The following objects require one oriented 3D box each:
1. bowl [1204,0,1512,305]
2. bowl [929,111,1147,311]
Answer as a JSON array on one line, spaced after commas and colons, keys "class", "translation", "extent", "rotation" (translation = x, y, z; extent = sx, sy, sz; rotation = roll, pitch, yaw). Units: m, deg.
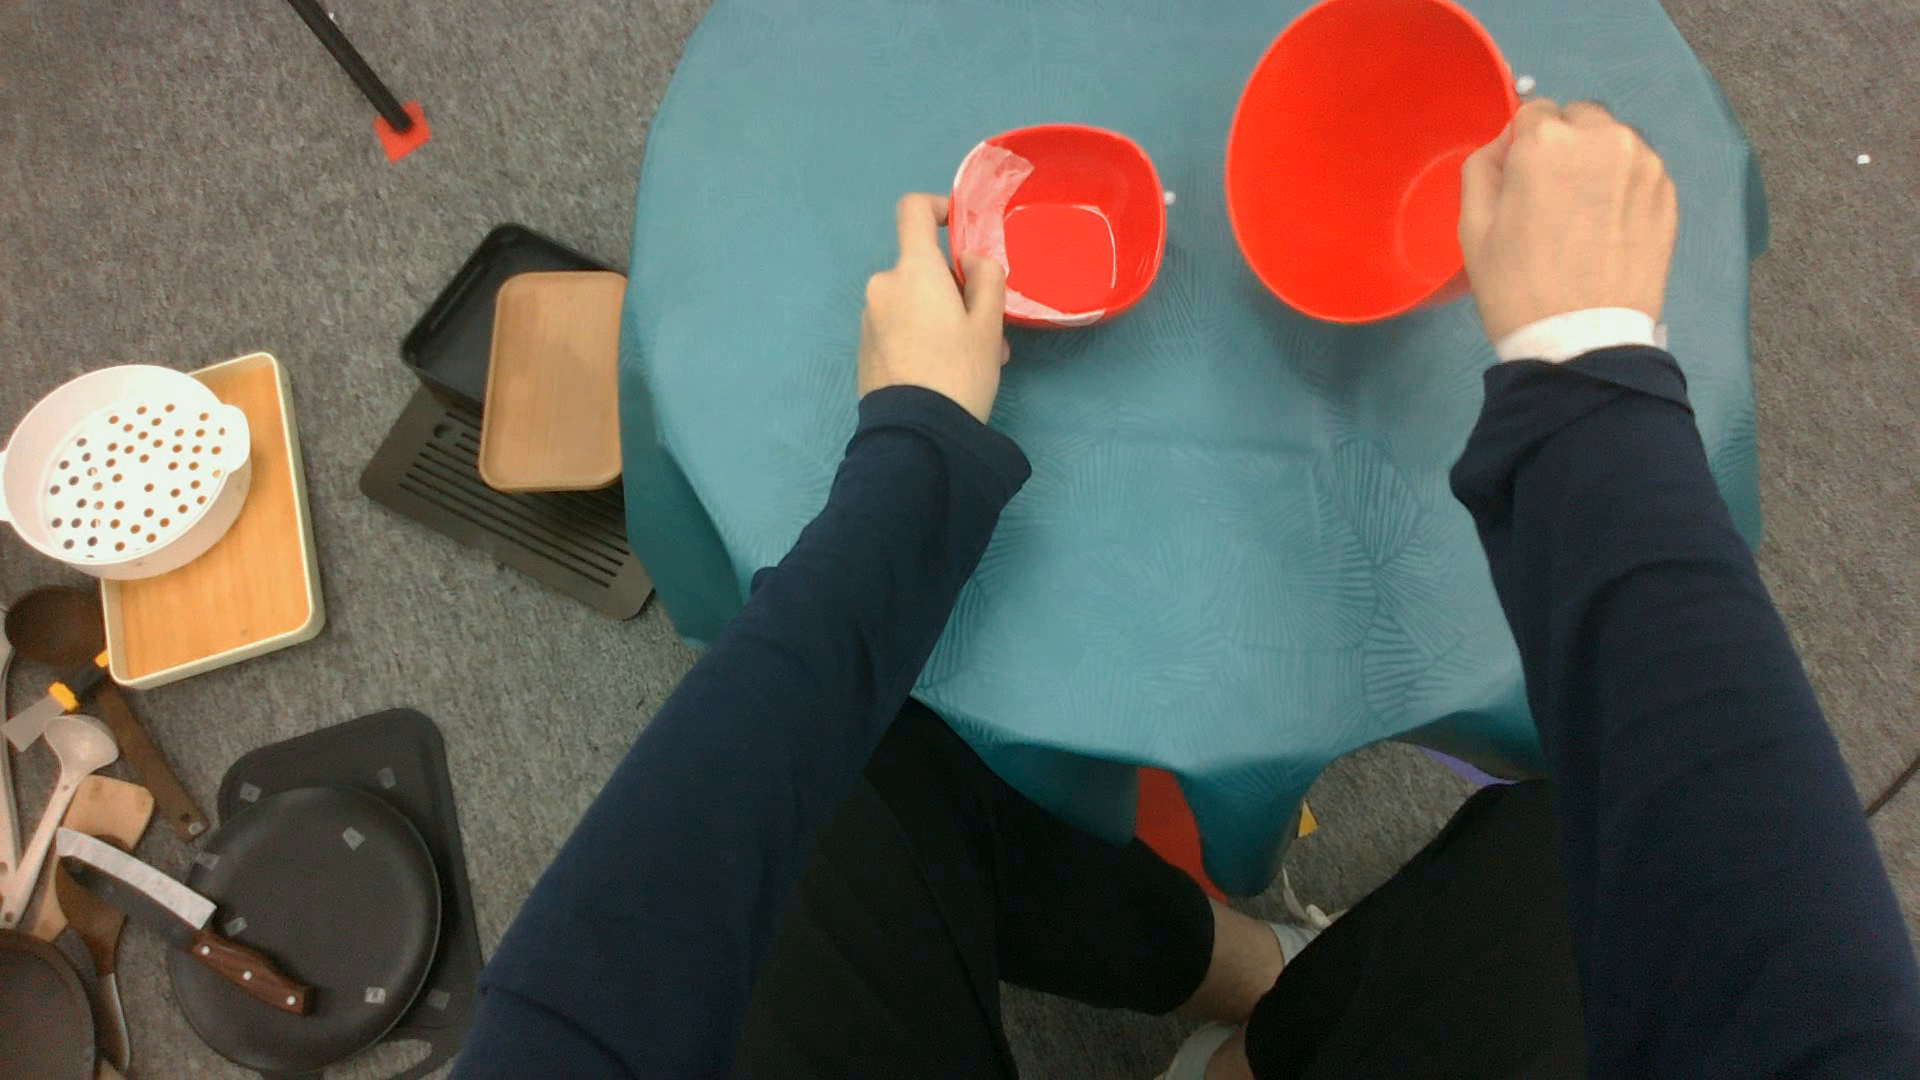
[{"class": "bowl", "translation": [0.204, -0.181, 0.663], "extent": [0.147, 0.105, 0.148], "rotation": [-6, 82, 43]}, {"class": "bowl", "translation": [0.040, -0.163, 0.717], "extent": [0.119, 0.051, 0.119], "rotation": [0, 71, 1]}]
